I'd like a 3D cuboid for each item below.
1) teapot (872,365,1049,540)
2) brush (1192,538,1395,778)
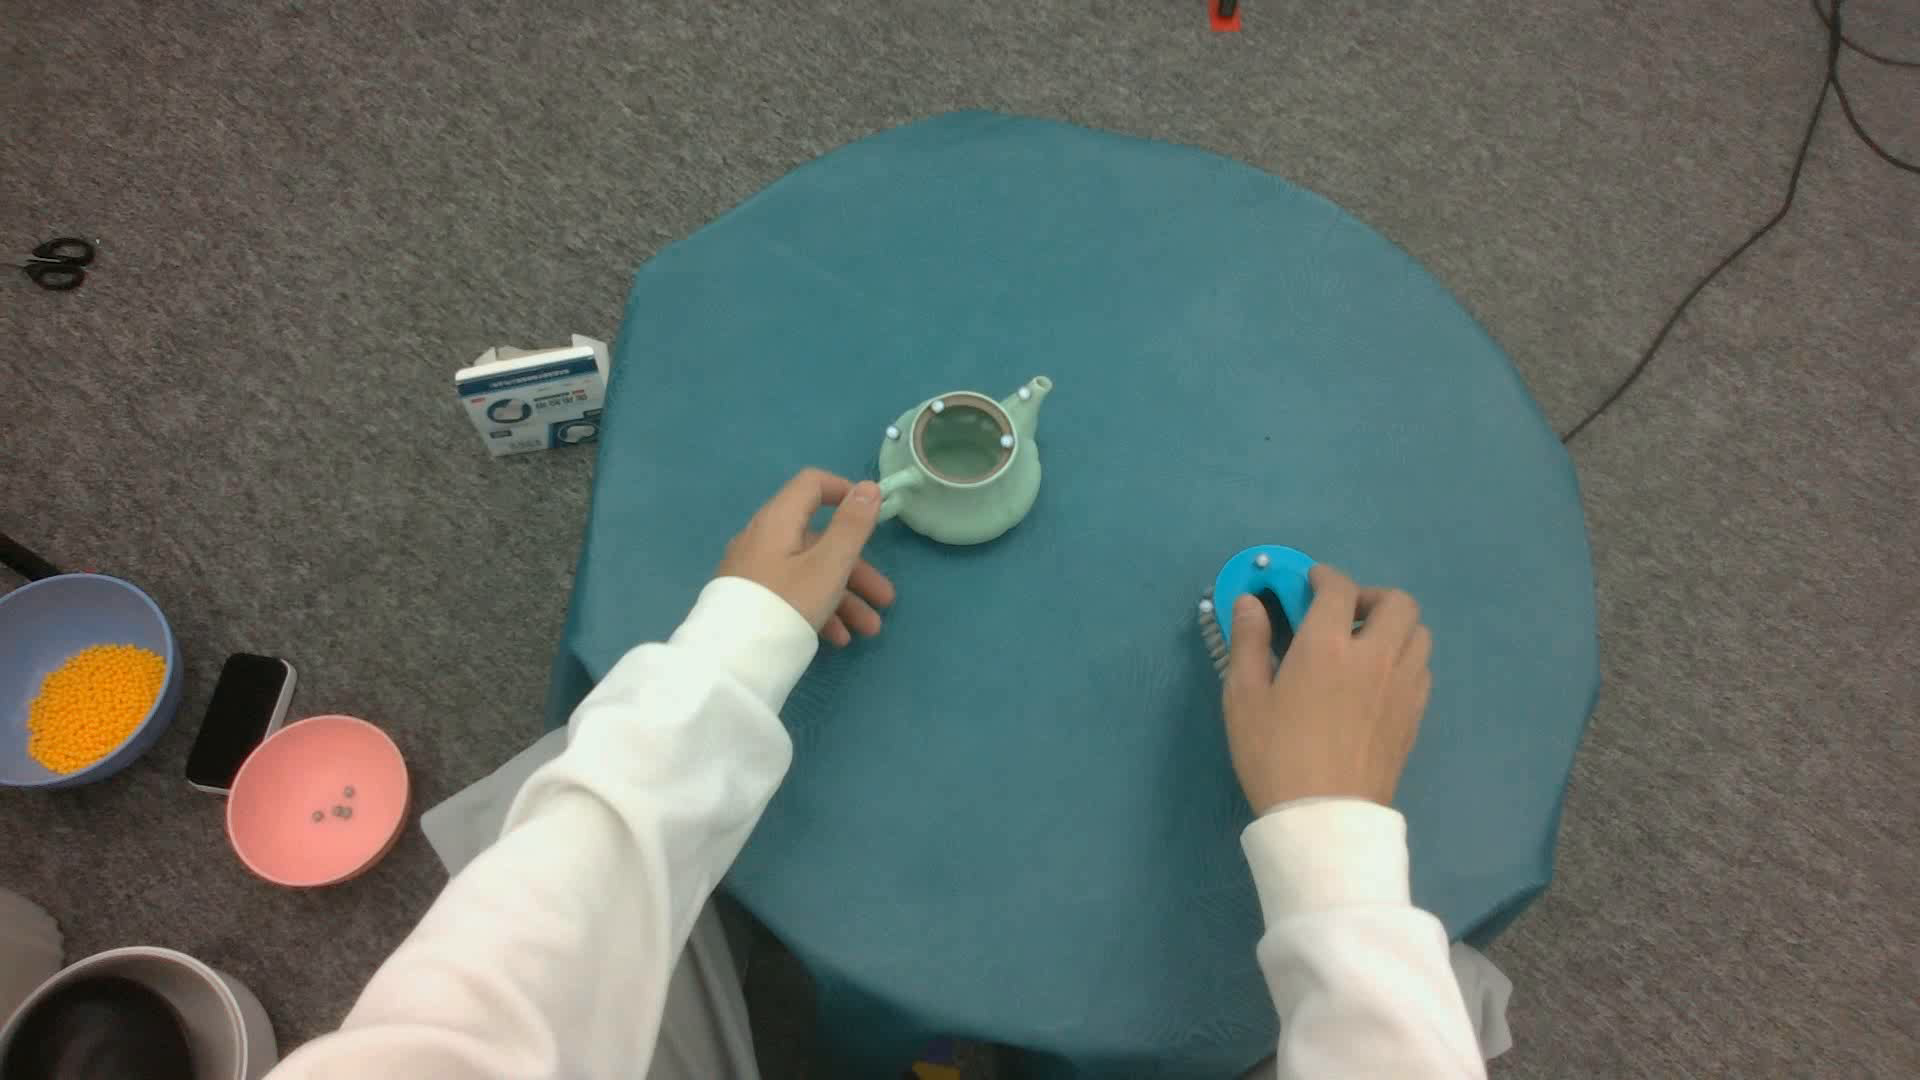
[{"bbox_3d":[0.001,-0.048,0.814,0.137,0.061,0.096,-39,75,-18],"label":"teapot"},{"bbox_3d":[0.192,0.058,0.771,0.084,0.063,0.142,-17,68,-15],"label":"brush"}]
